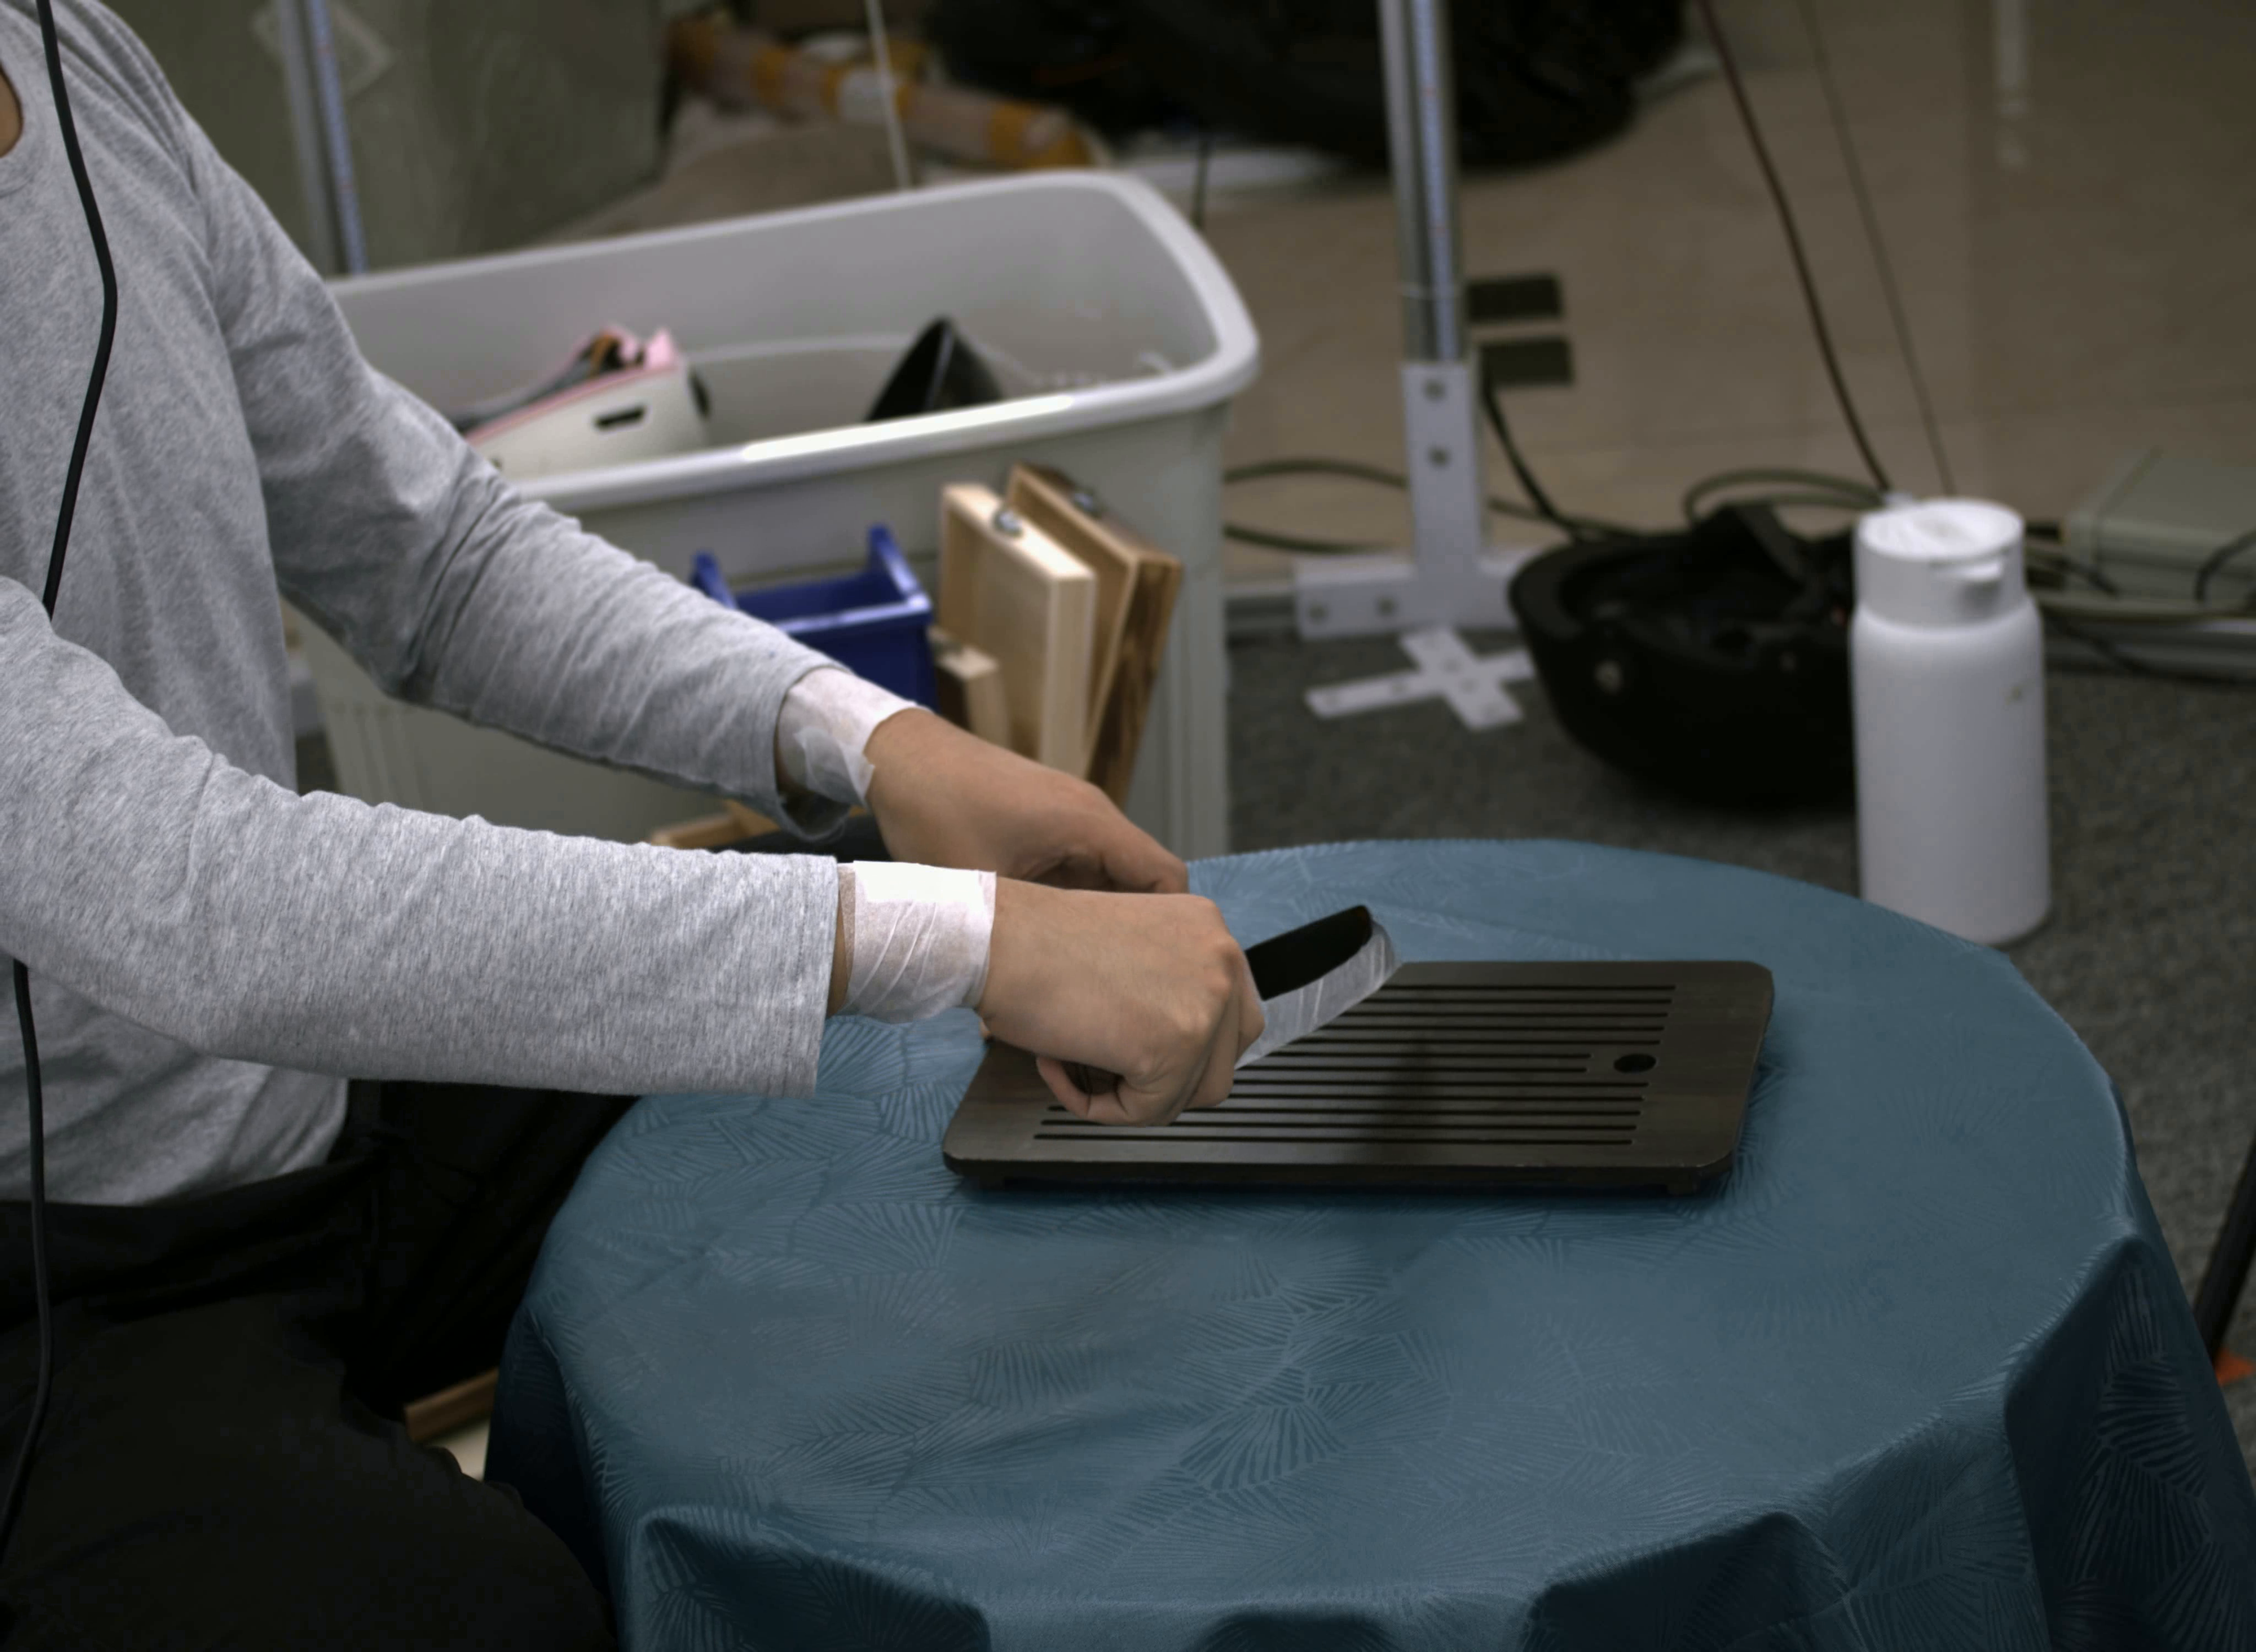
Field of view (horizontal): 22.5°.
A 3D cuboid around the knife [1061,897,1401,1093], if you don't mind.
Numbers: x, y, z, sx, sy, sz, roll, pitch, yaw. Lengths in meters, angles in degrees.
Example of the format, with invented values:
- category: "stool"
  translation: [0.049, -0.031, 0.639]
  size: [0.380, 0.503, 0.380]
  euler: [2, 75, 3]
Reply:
- category: "knife"
  translation: [0.045, 0.064, 2.101]
  size: [0.020, 0.050, 0.288]
  euler: [9, 11, 25]

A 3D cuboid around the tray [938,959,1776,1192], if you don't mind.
- category: "tray"
  translation: [0.091, 0.096, 2.200]
  size: [0.305, 0.019, 0.168]
  euler: [0, 25, 14]
